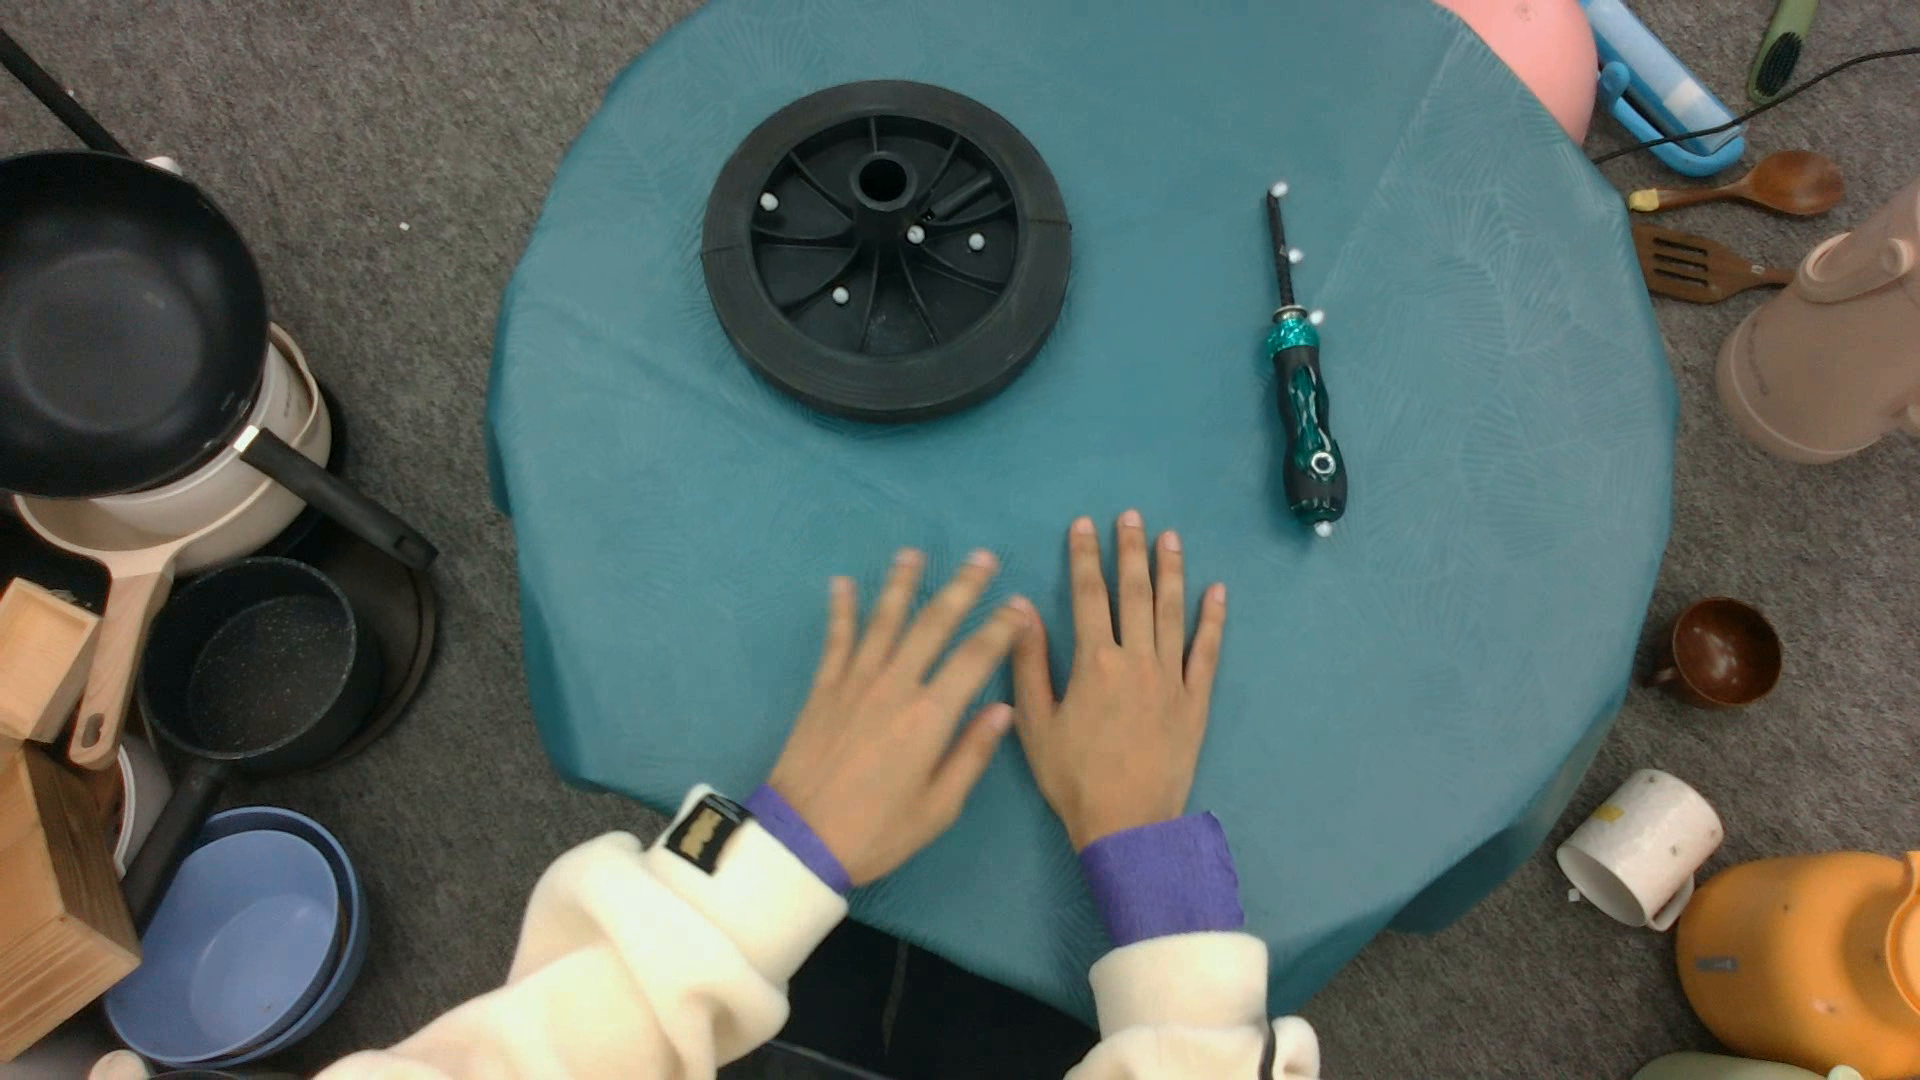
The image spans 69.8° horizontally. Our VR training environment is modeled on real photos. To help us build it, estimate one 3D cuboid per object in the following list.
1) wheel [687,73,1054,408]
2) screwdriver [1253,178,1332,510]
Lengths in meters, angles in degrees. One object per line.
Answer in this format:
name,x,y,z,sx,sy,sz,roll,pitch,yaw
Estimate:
wheel,-0.043,-0.164,0.686,0.187,0.079,0.190,28,71,6
screwdriver,0.163,-0.105,0.703,0.034,0.033,0.190,-2,67,-2
